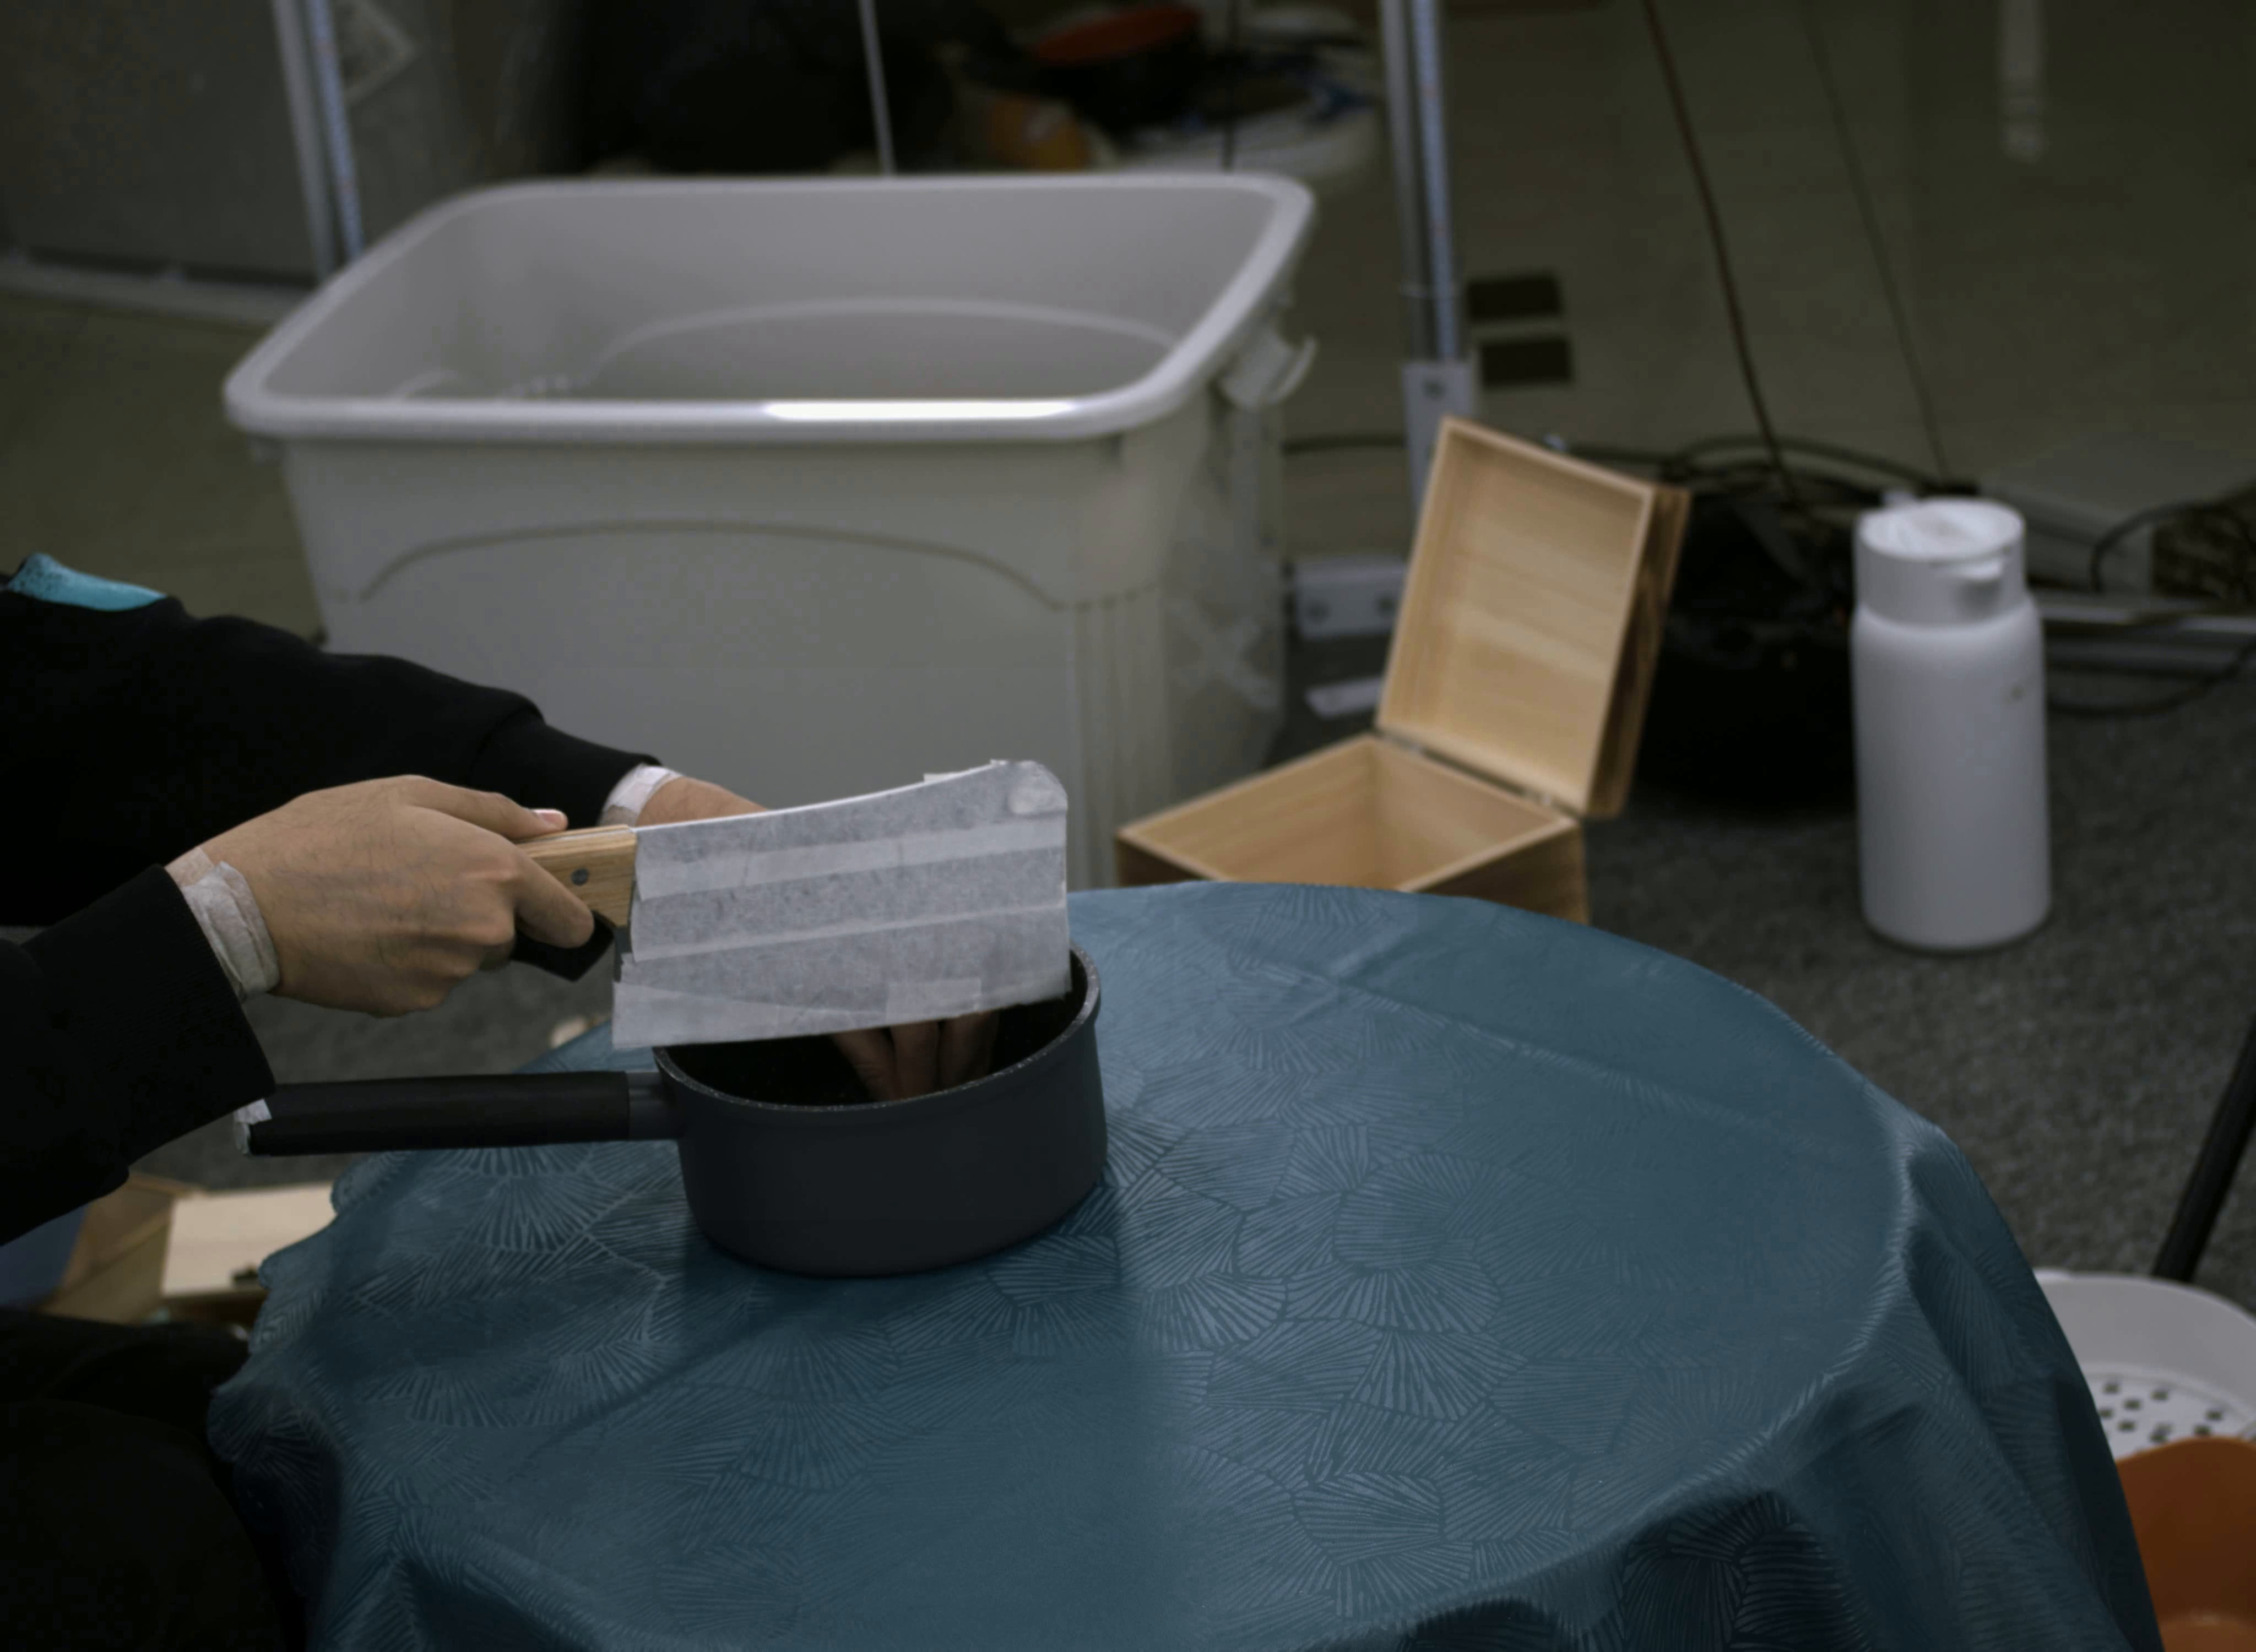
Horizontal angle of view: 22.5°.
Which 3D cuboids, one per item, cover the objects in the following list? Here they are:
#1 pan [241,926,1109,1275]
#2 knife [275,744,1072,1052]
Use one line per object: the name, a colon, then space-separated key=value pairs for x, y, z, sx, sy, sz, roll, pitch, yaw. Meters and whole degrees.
pan: x=-0.169 y=0.111 z=2.148 sx=0.328 sy=0.088 sz=0.170 roll=-9 pitch=23 yaw=-6
knife: x=-0.160 y=0.028 z=2.080 sx=0.315 sy=0.115 sz=0.021 roll=-3 pitch=22 yaw=-25
